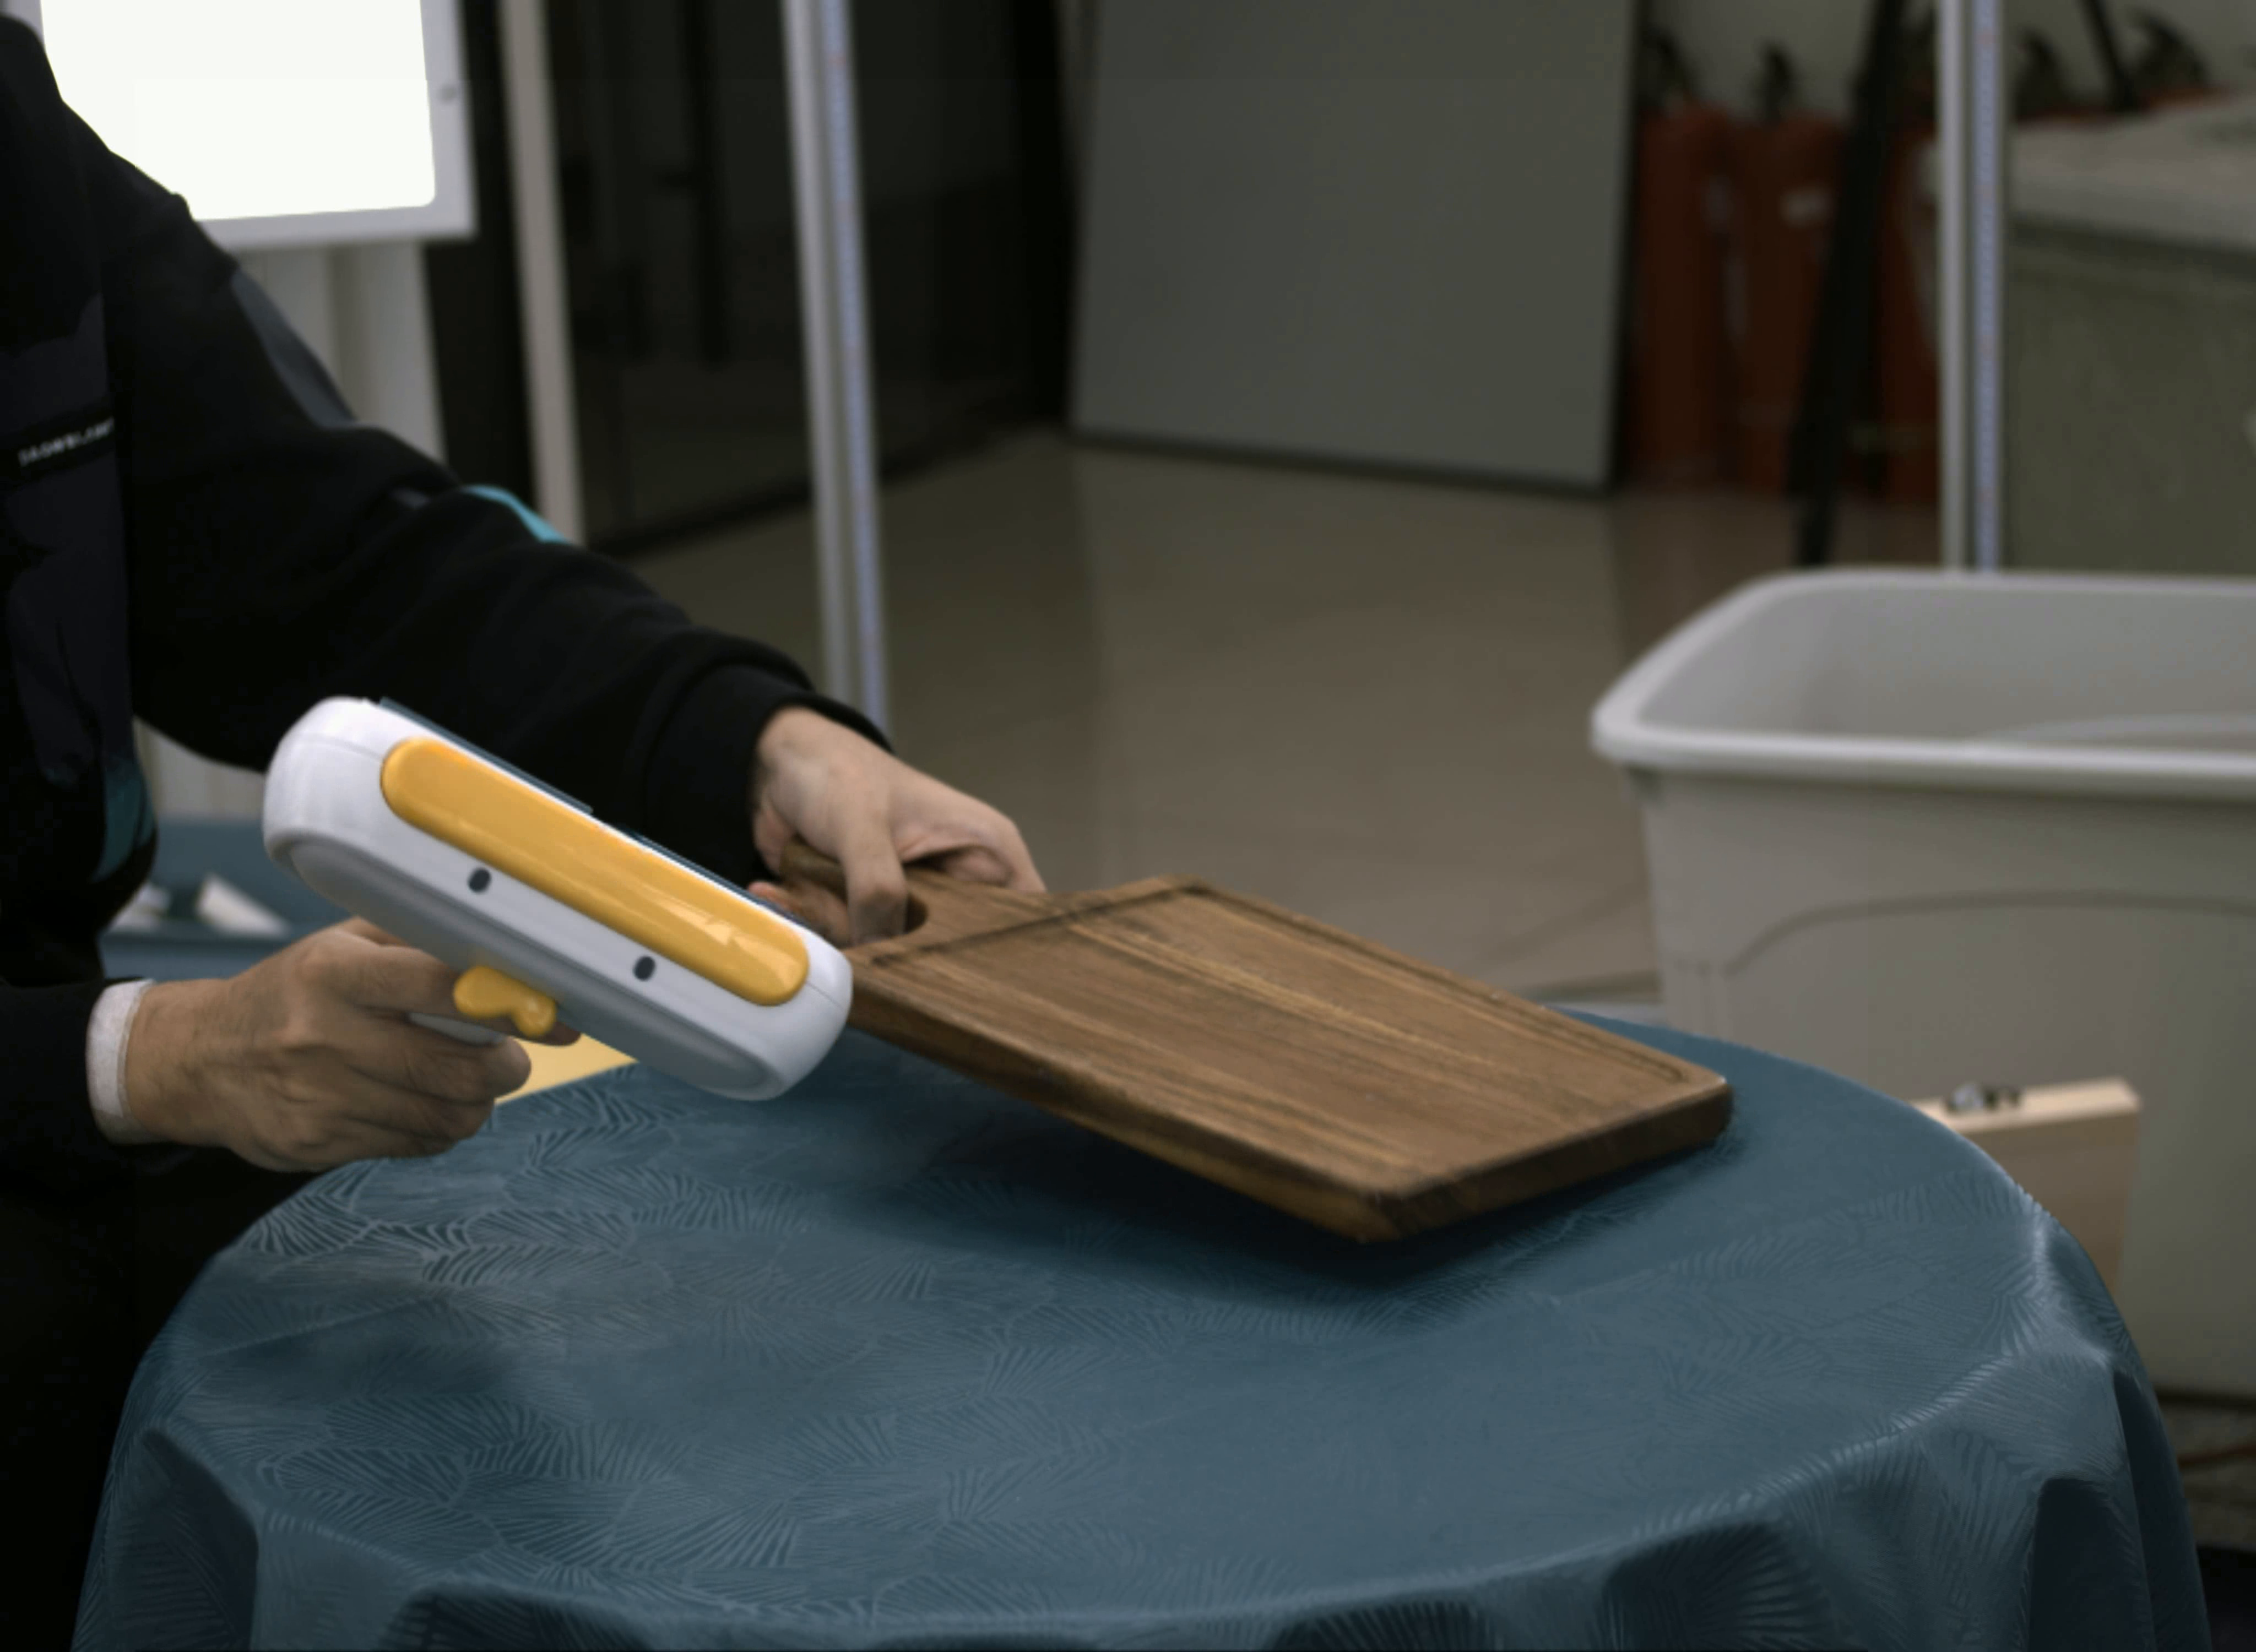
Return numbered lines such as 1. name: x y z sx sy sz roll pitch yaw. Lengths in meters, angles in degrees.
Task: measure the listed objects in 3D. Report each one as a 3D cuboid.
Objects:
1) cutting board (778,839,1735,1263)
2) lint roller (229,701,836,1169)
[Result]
1. cutting board: 0.013 0.062 1.819 0.355 0.023 0.197 20 23 38
2. lint roller: -0.204 0.048 1.679 0.189 0.075 0.194 22 -30 -16
